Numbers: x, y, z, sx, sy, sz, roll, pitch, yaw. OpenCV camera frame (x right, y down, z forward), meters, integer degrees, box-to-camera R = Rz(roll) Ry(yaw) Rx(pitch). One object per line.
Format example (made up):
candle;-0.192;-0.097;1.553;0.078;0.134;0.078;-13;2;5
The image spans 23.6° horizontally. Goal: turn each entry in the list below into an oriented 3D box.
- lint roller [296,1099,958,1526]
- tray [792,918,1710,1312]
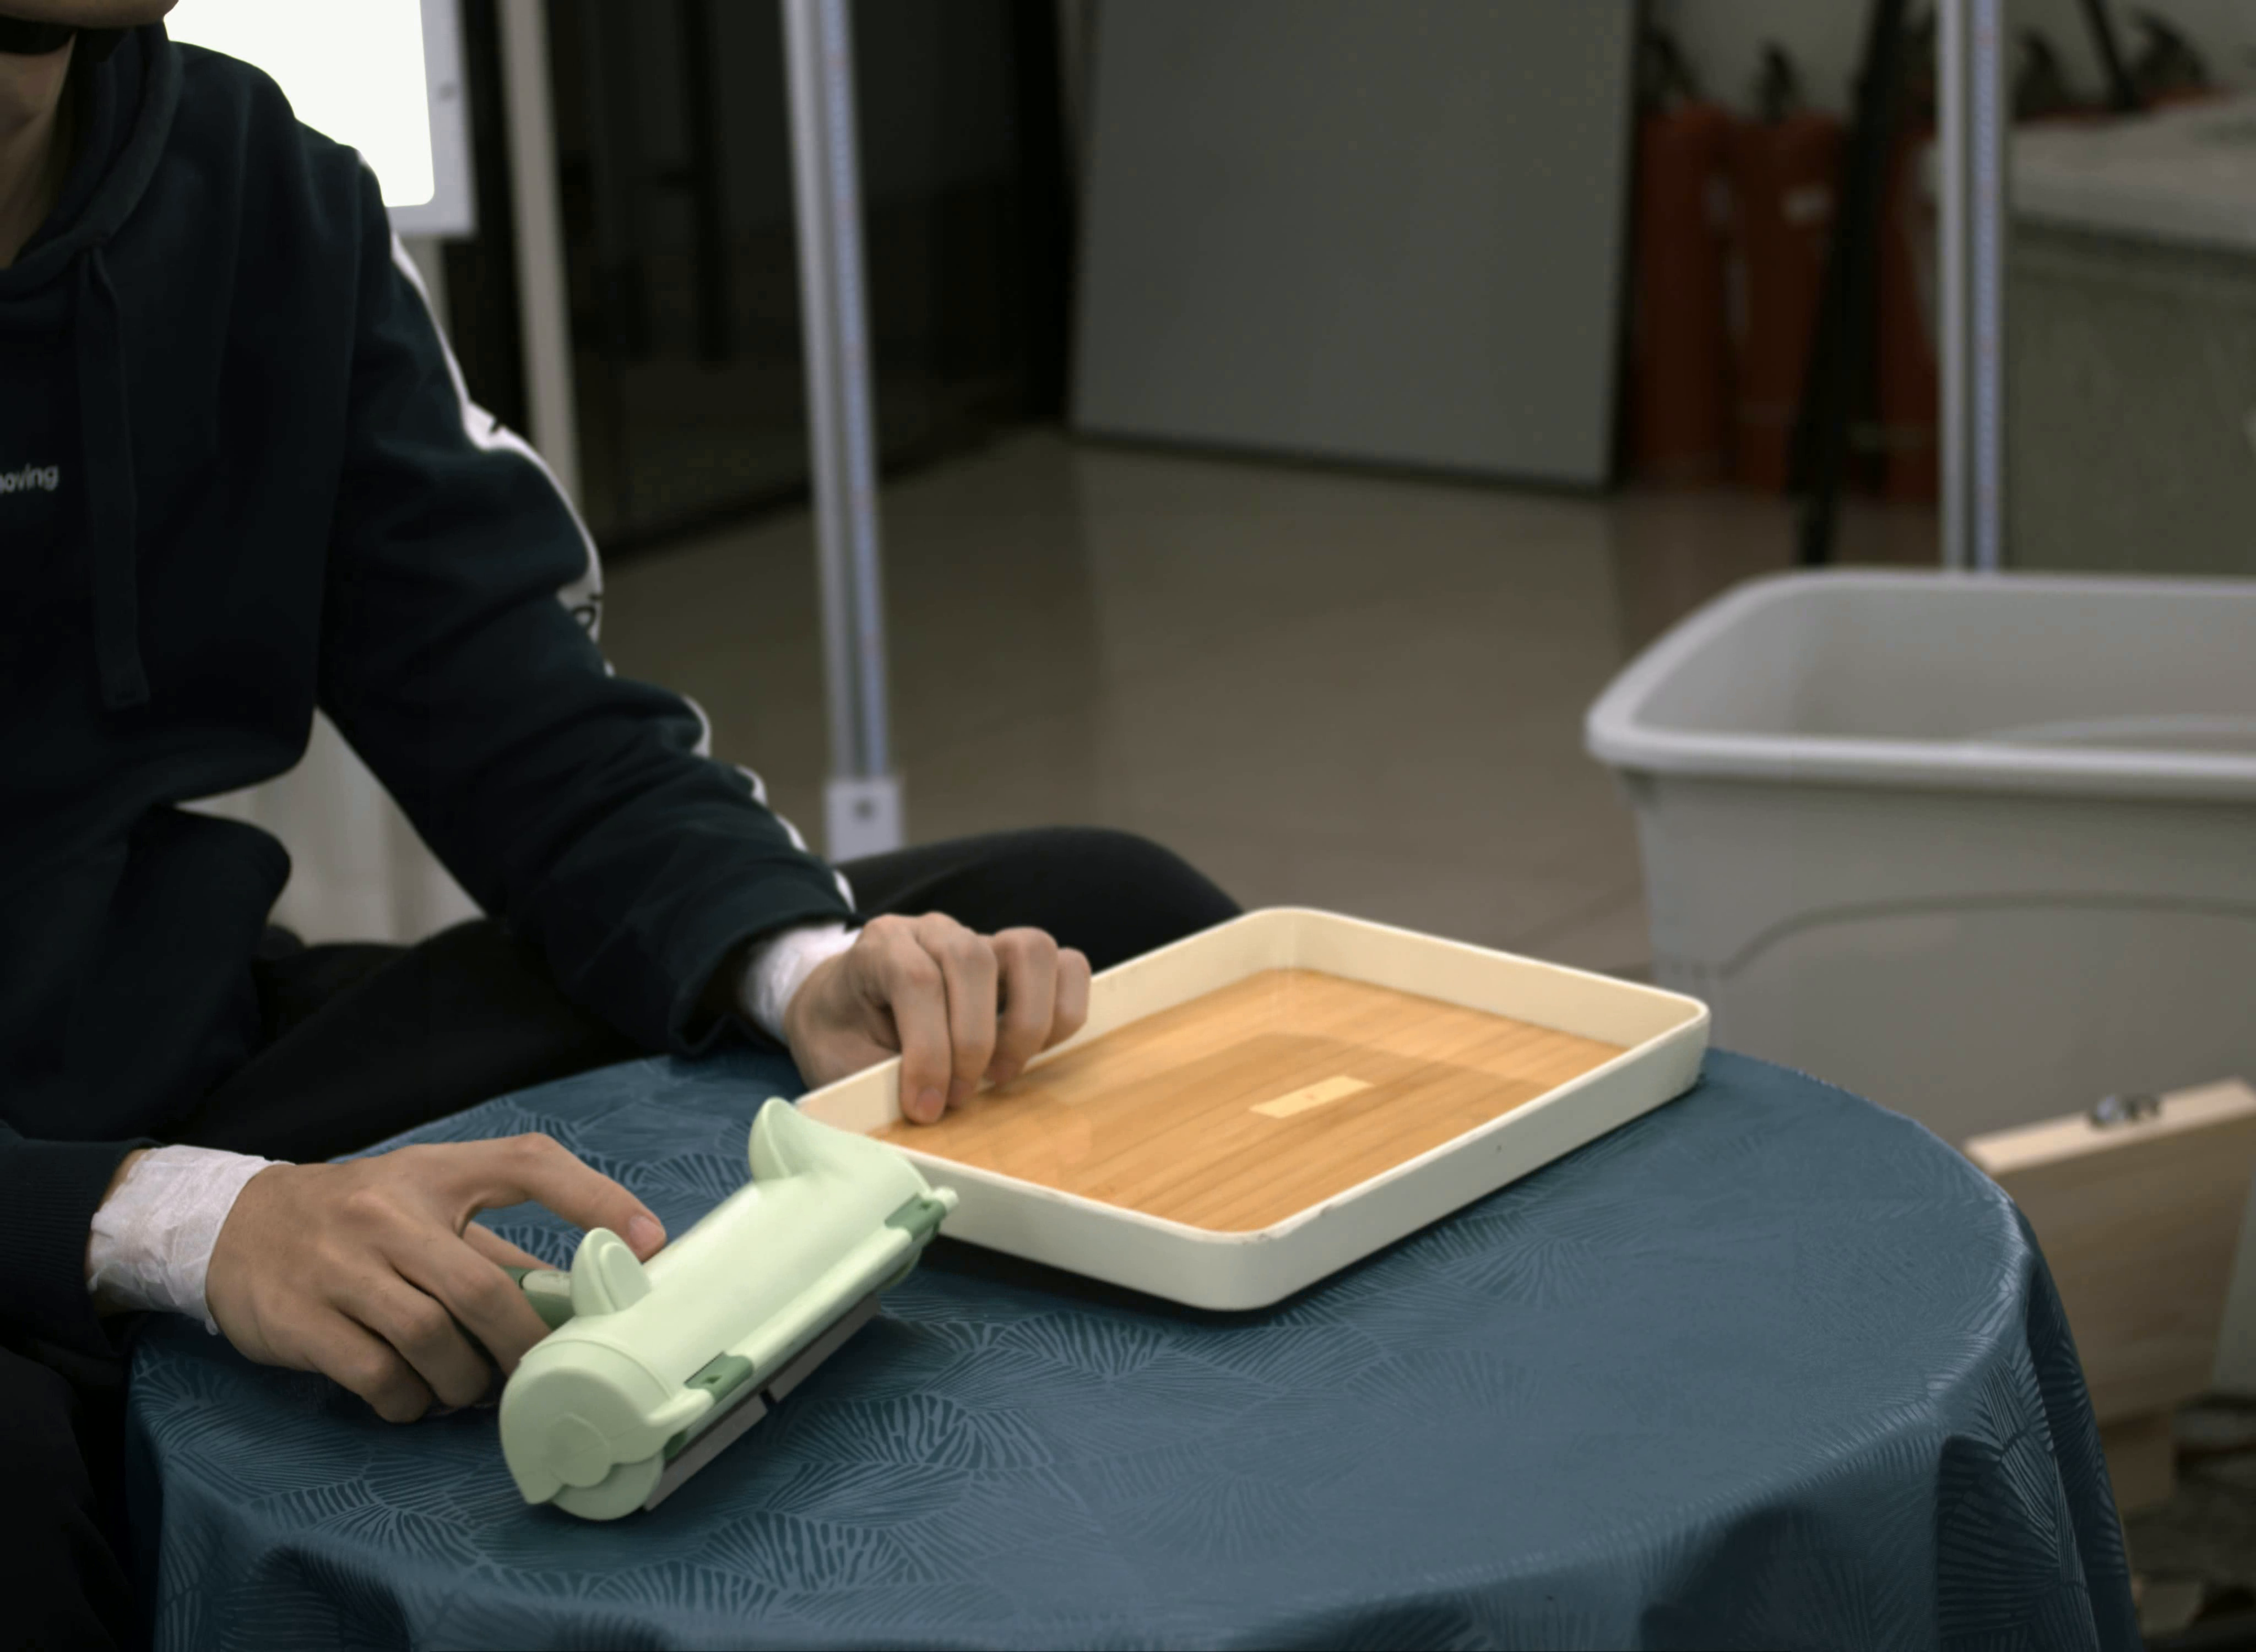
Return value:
lint roller;-0.169;0.133;1.604;0.183;0.083;0.196;6;18;23
tray;0.045;0.091;1.789;0.193;0.028;0.295;11;19;35
